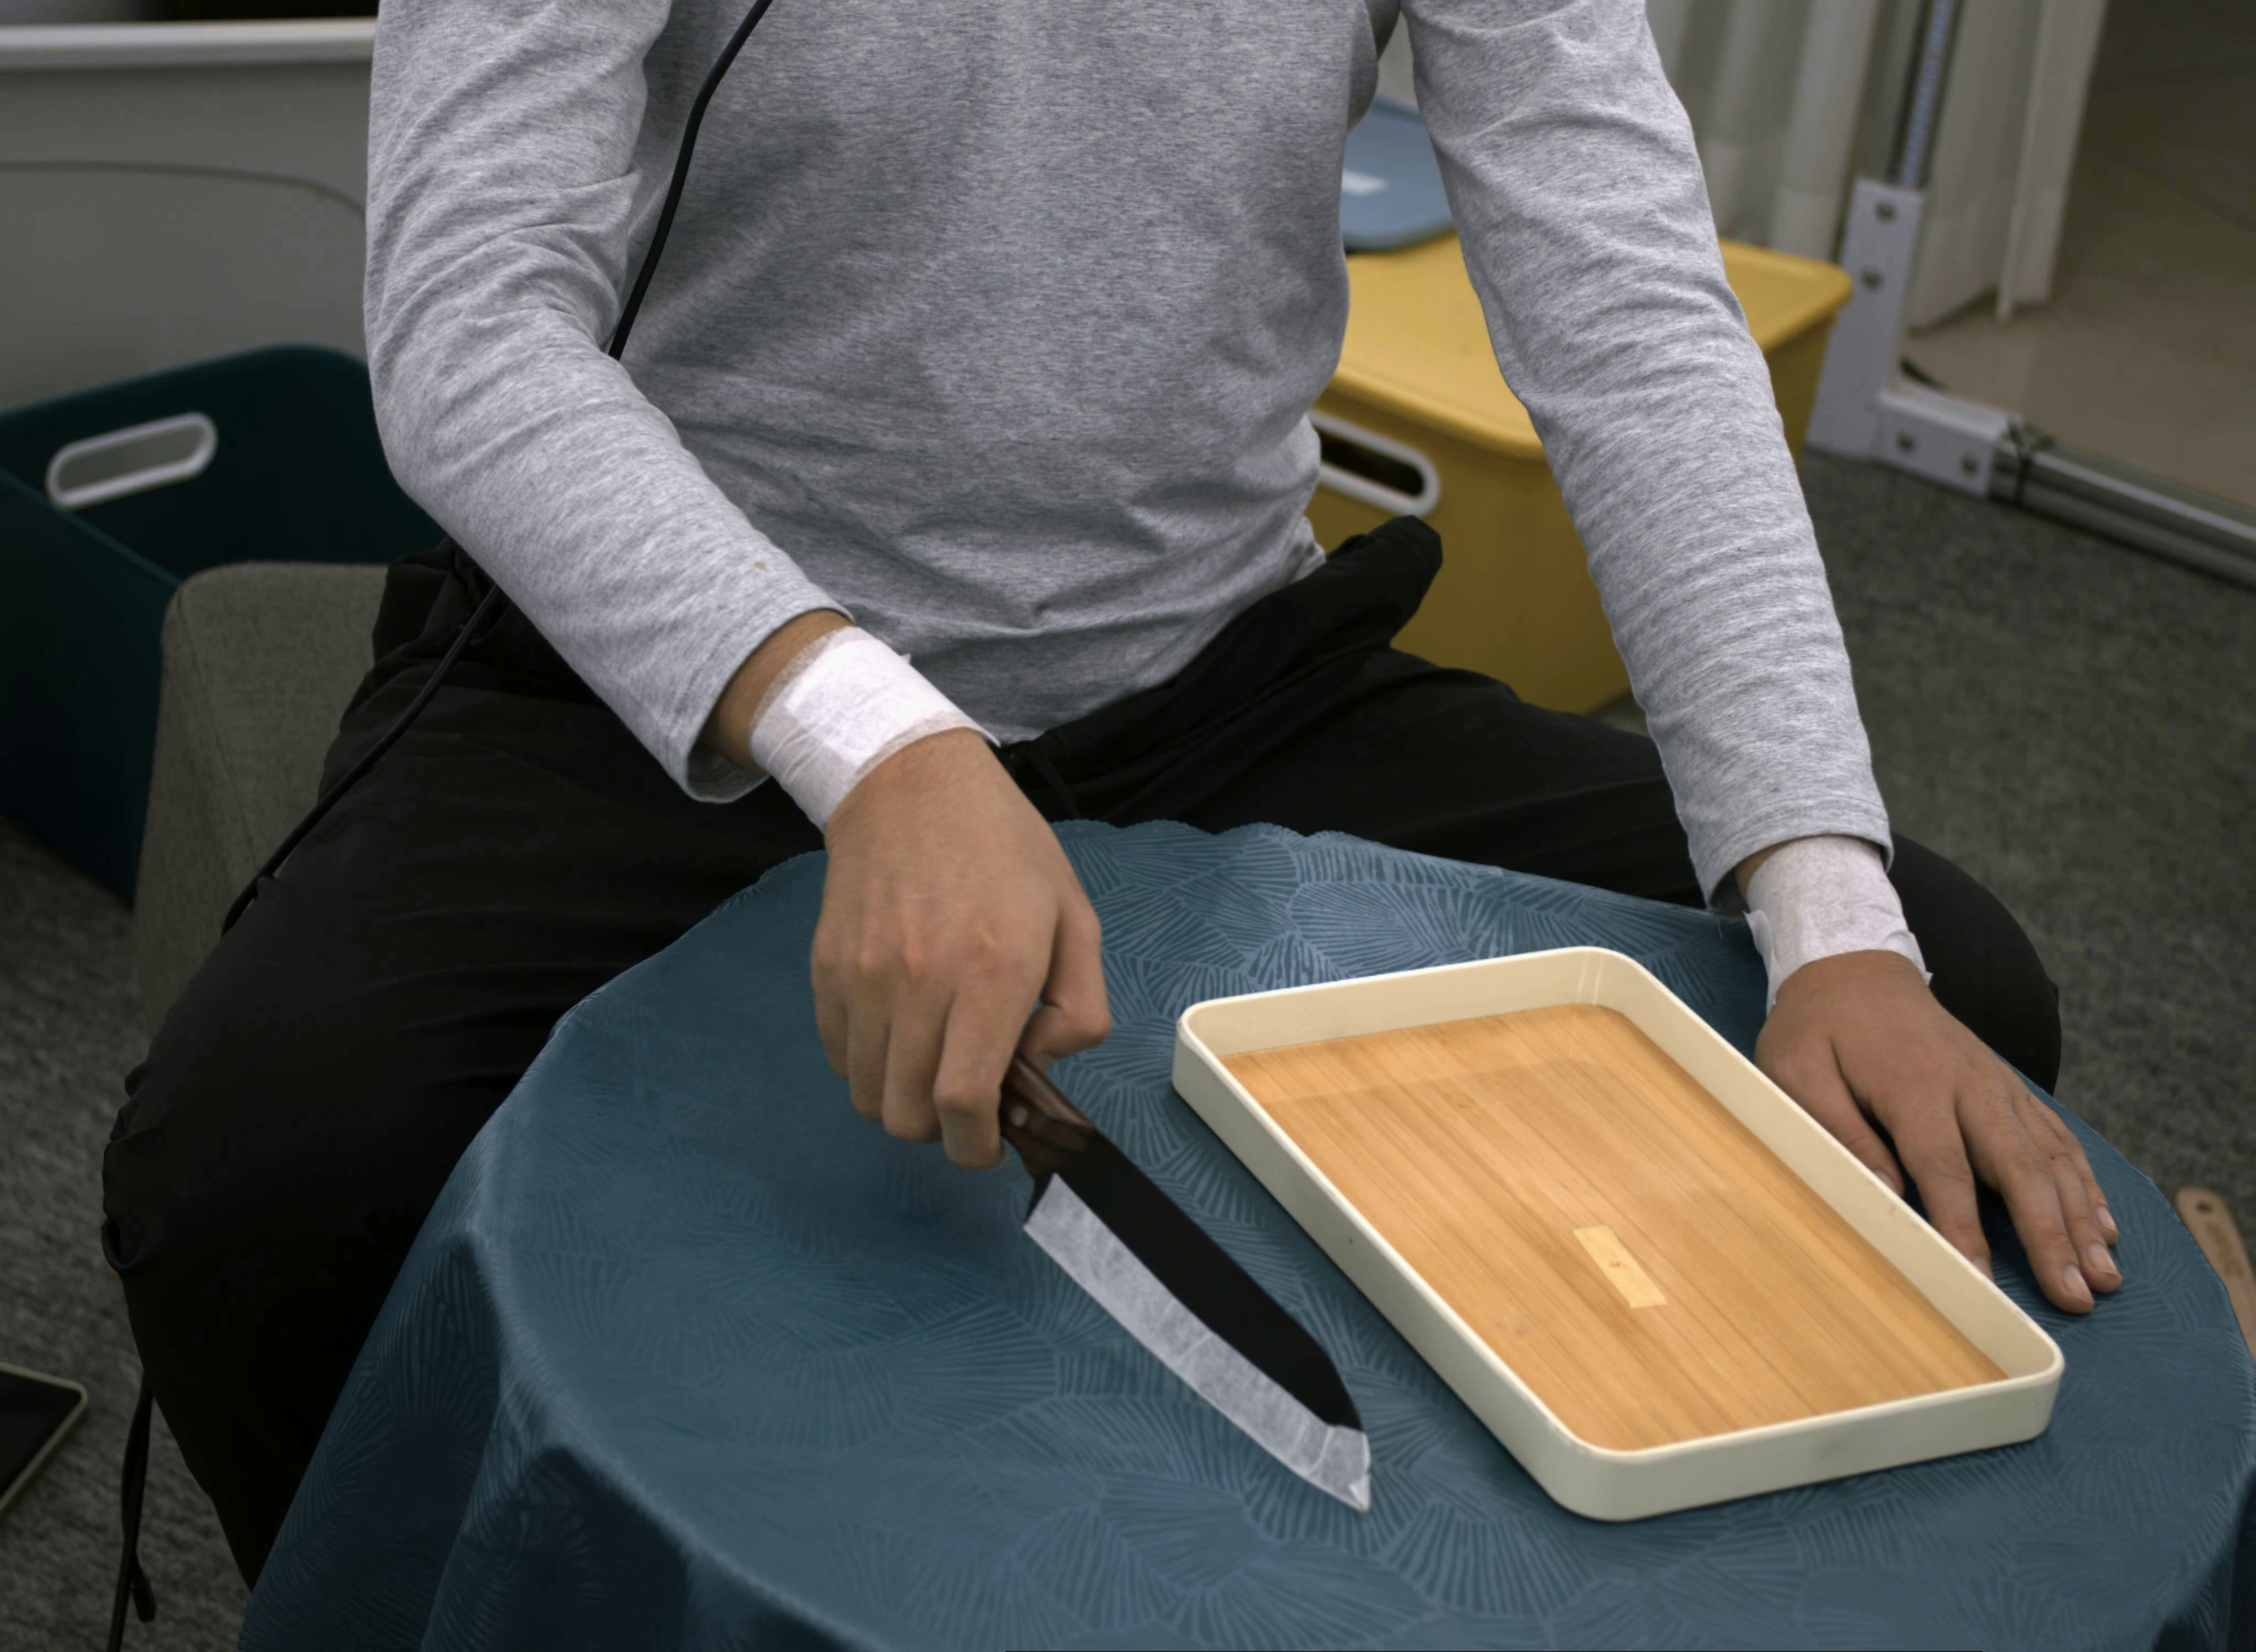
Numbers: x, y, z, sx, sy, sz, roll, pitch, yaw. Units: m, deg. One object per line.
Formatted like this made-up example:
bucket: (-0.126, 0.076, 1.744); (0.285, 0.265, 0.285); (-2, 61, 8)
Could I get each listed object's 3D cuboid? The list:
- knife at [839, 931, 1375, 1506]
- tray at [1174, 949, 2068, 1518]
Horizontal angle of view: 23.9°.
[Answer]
knife: (-0.008, 0.124, 1.725); (0.020, 0.050, 0.292); (6, 30, -47)
tray: (0.160, 0.131, 1.798); (0.190, 0.027, 0.303); (-7, 29, -26)
